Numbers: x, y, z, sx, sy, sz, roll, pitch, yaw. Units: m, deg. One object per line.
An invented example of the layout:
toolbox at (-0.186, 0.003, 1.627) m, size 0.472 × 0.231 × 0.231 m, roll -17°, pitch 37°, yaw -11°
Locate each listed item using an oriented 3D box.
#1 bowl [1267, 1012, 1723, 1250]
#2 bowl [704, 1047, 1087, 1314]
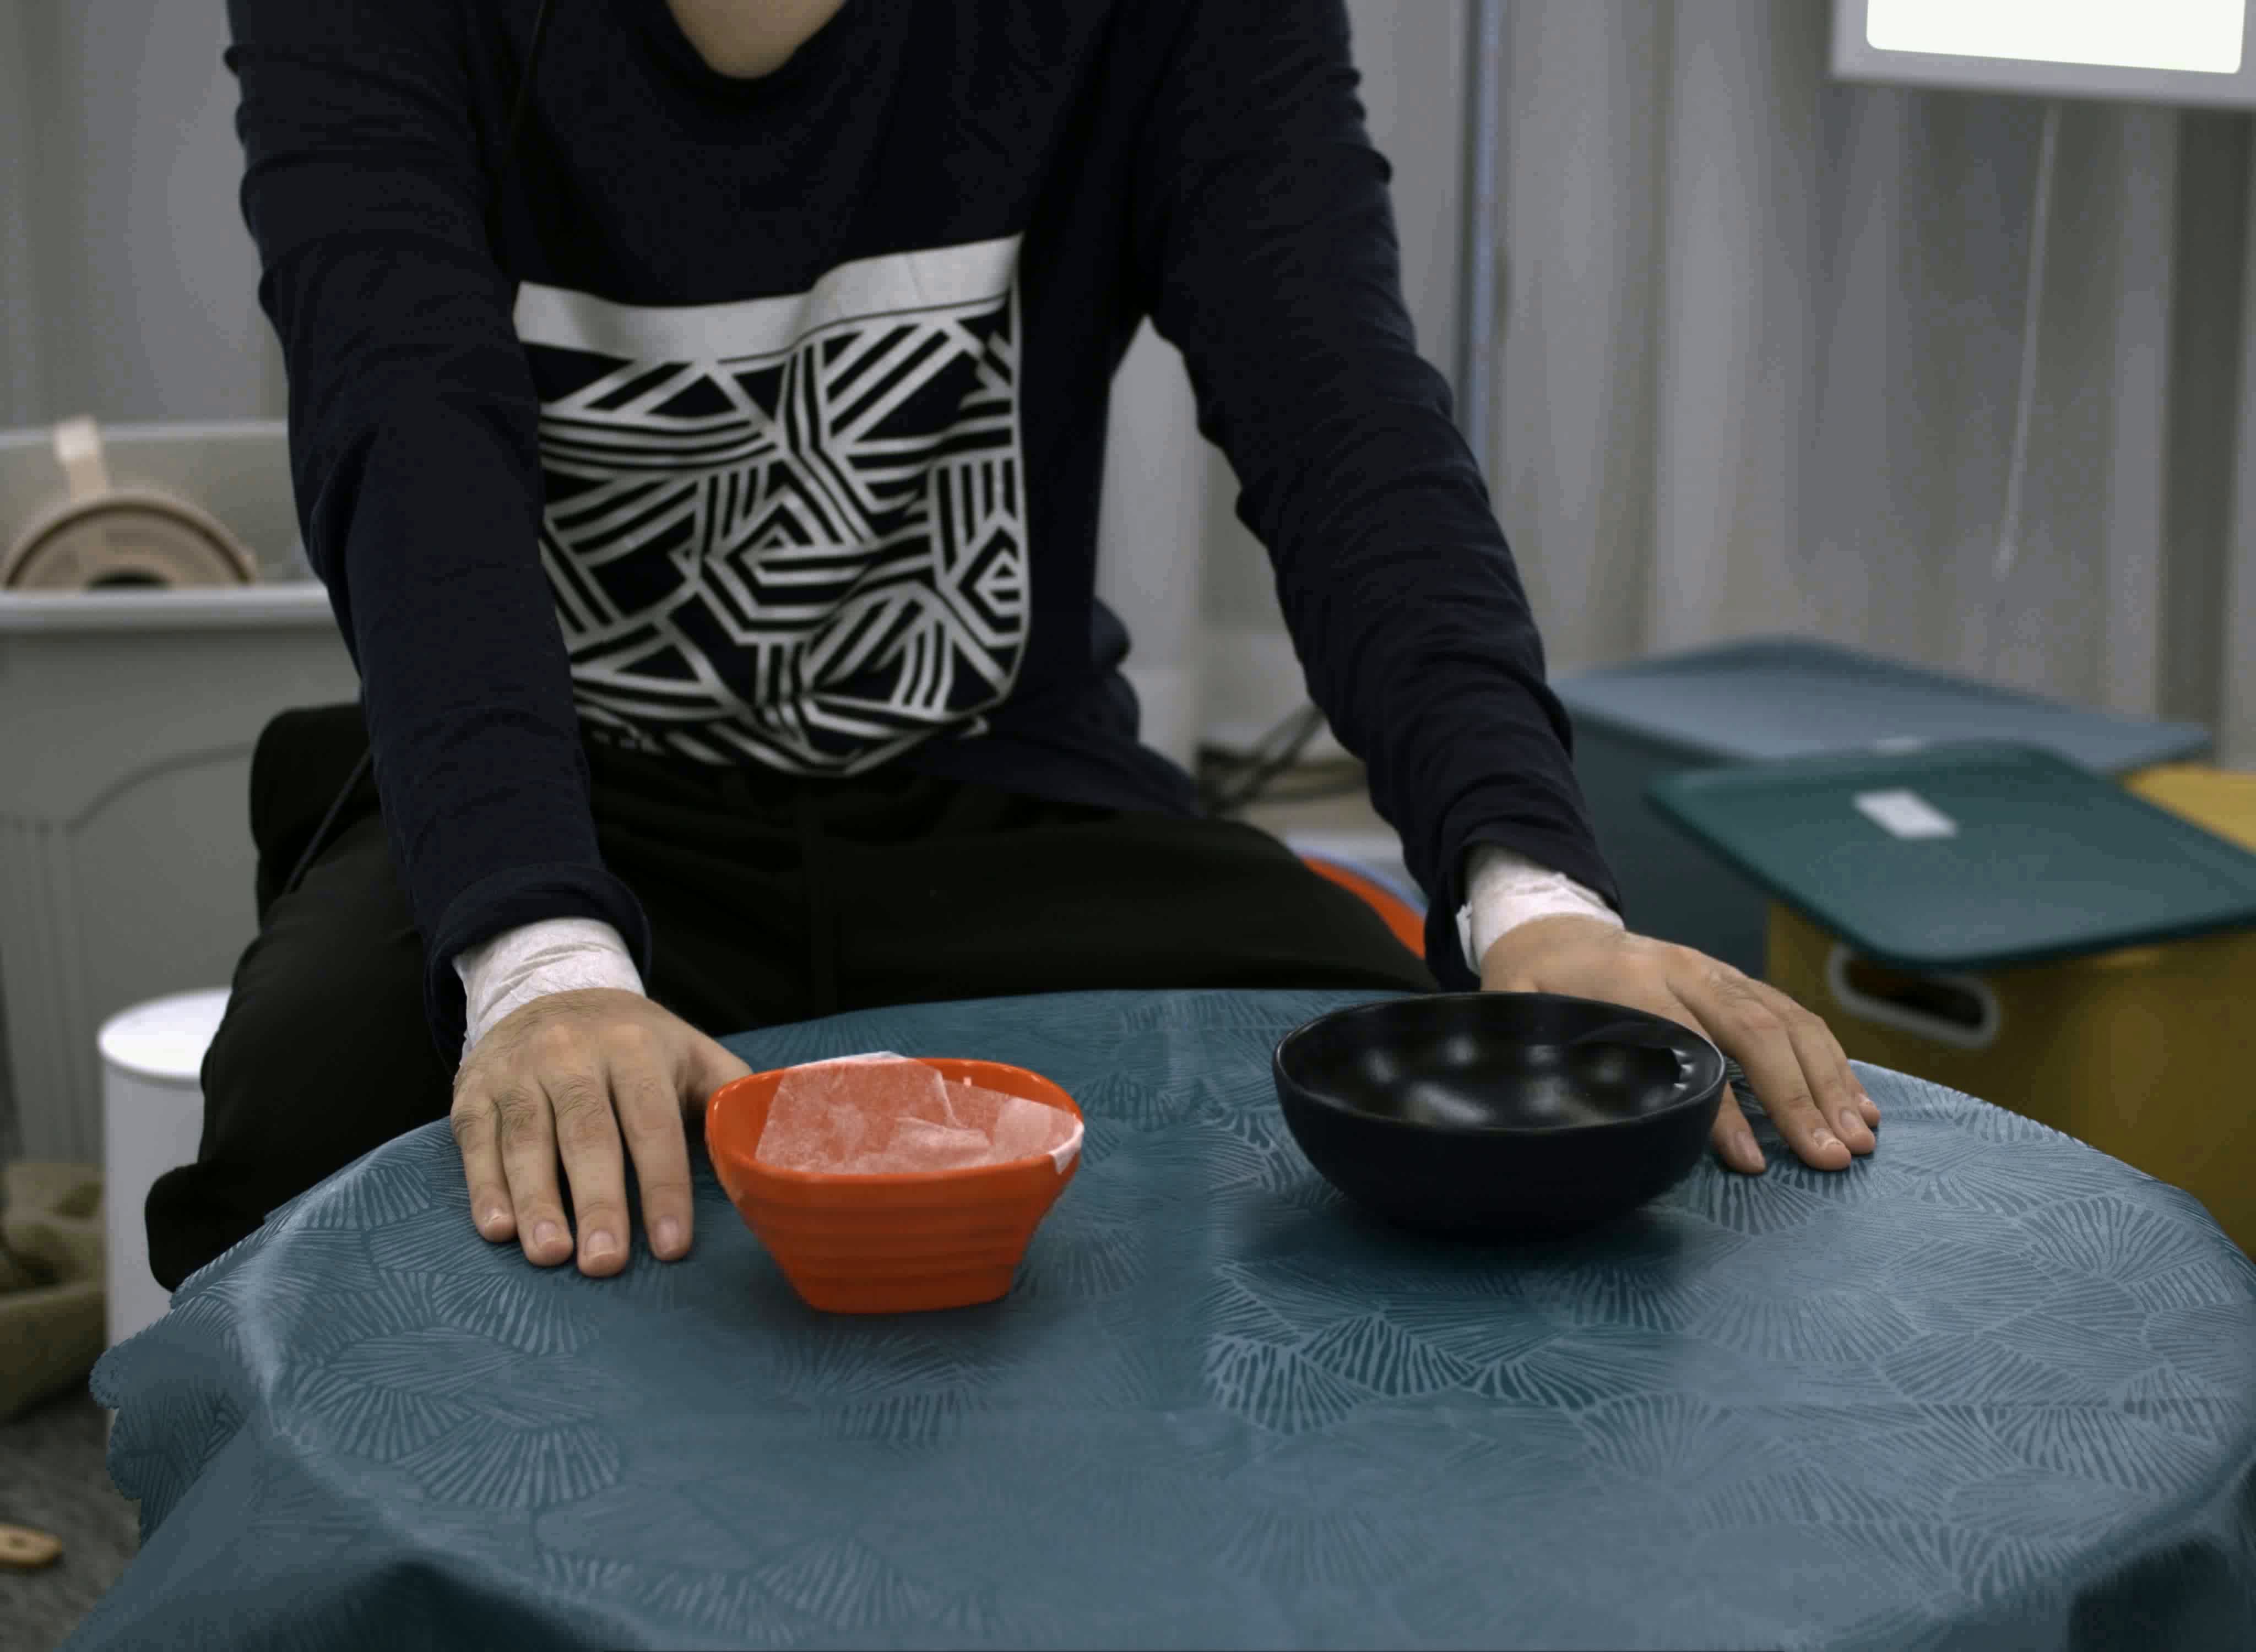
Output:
bowl at (0.112, 0.096, 1.606) m, size 0.139 × 0.050 × 0.139 m, roll 0°, pitch 11°, yaw 1°
bowl at (-0.068, 0.106, 1.544) m, size 0.118 × 0.052 × 0.118 m, roll 0°, pitch 18°, yaw 1°
